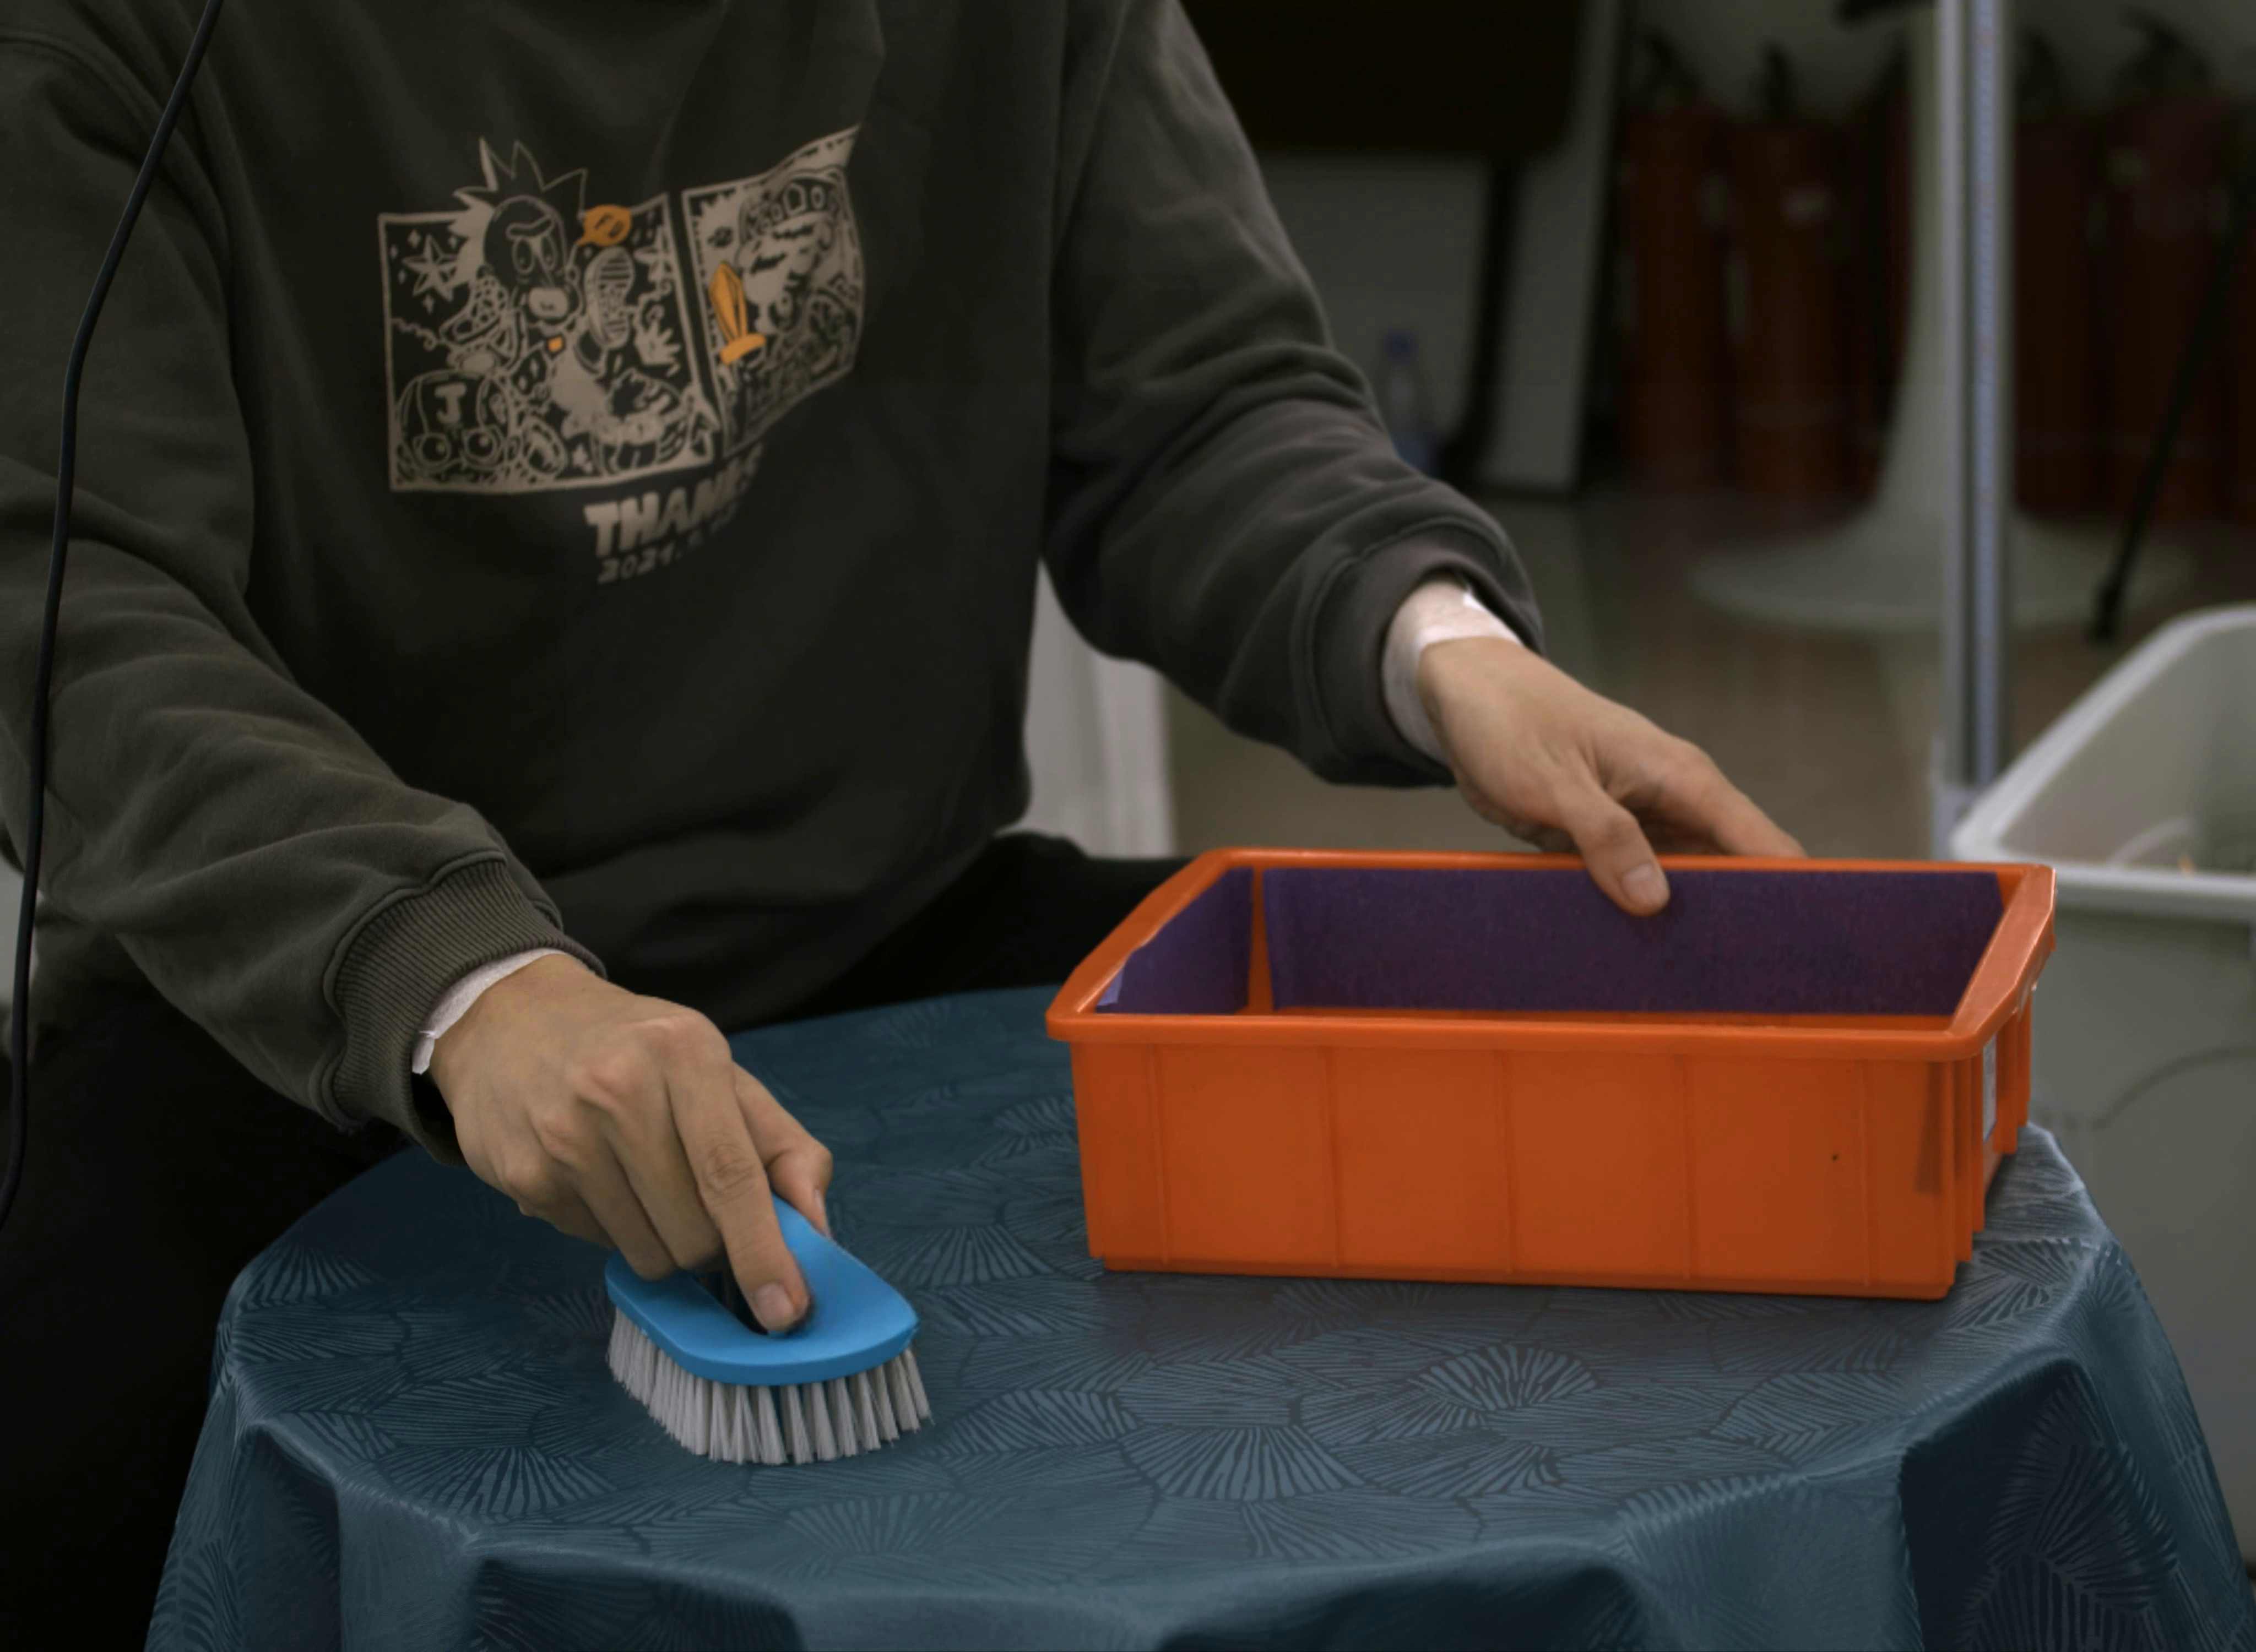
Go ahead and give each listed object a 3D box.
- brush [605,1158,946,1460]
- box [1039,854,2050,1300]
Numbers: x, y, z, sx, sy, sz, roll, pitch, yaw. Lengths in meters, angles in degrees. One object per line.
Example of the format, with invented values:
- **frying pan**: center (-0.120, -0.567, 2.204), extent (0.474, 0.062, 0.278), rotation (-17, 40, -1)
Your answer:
- **brush**: center (-0.108, 0.137, 1.605), extent (0.083, 0.064, 0.143), rotation (-13, 14, -17)
- **box**: center (0.139, 0.079, 1.727), extent (0.303, 0.097, 0.204), rotation (1, 14, 18)
